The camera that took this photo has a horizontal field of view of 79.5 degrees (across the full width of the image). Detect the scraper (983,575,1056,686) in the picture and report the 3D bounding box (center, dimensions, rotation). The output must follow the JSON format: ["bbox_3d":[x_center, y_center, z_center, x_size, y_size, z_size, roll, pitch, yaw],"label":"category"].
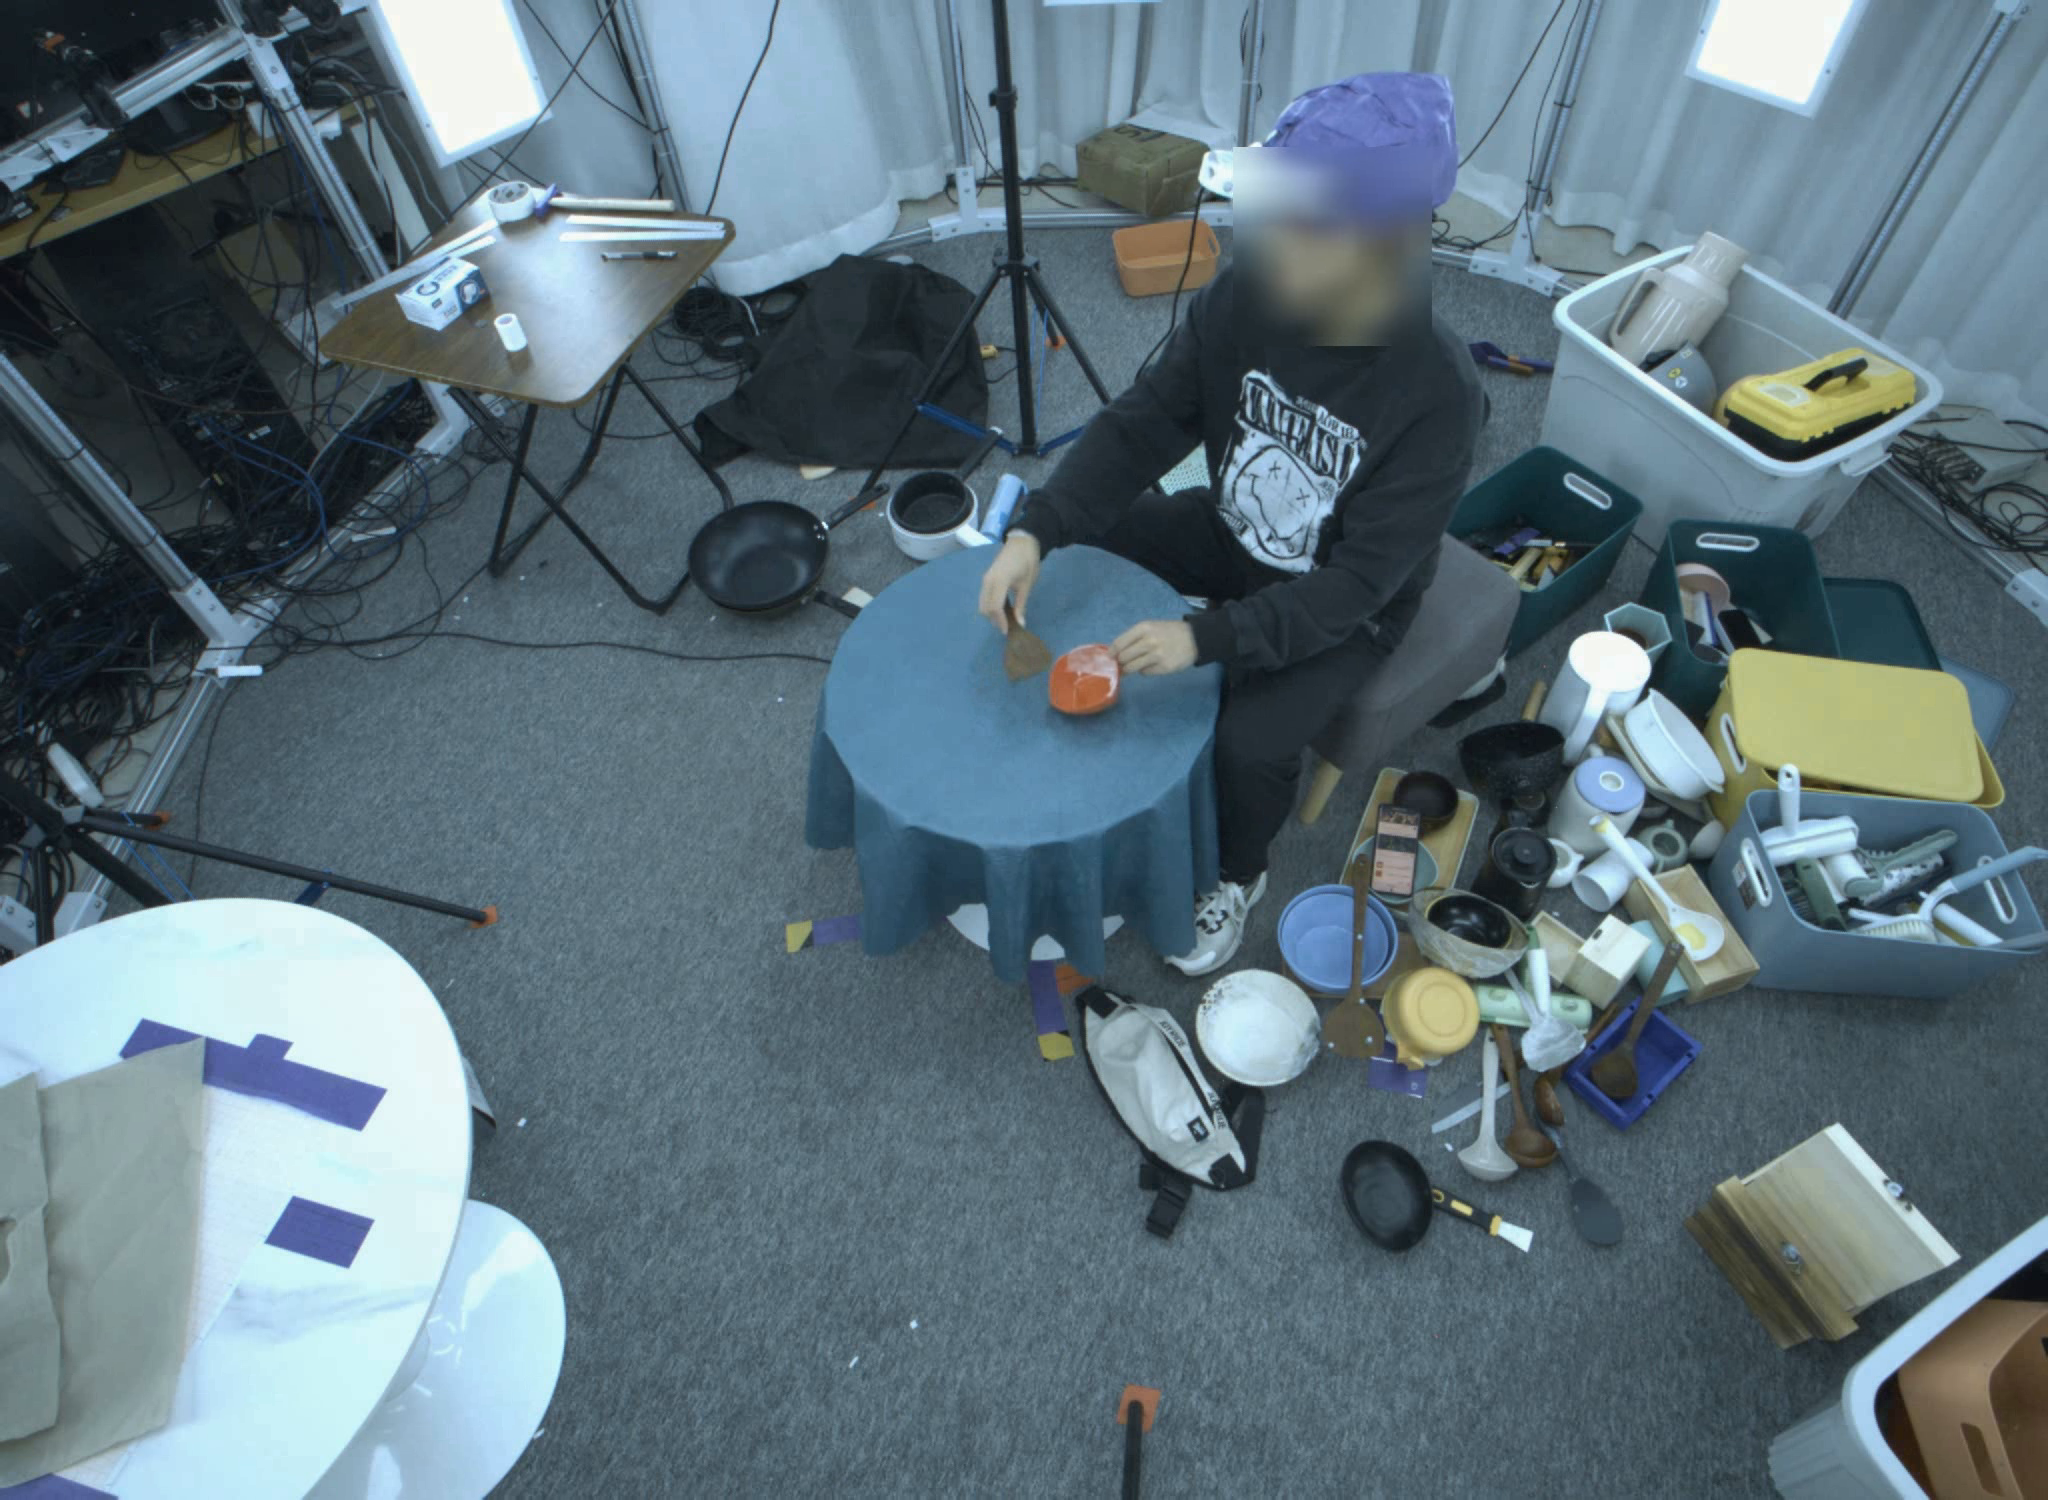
[{"bbox_3d":[-0.018,-0.182,1.821,0.076,0.011,0.208,-22,60,-1],"label":"scraper"}]

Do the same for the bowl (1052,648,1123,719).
[{"bbox_3d":[0.101,-0.089,1.813,0.117,0.052,0.118,-13,56,22],"label":"bowl"}]
